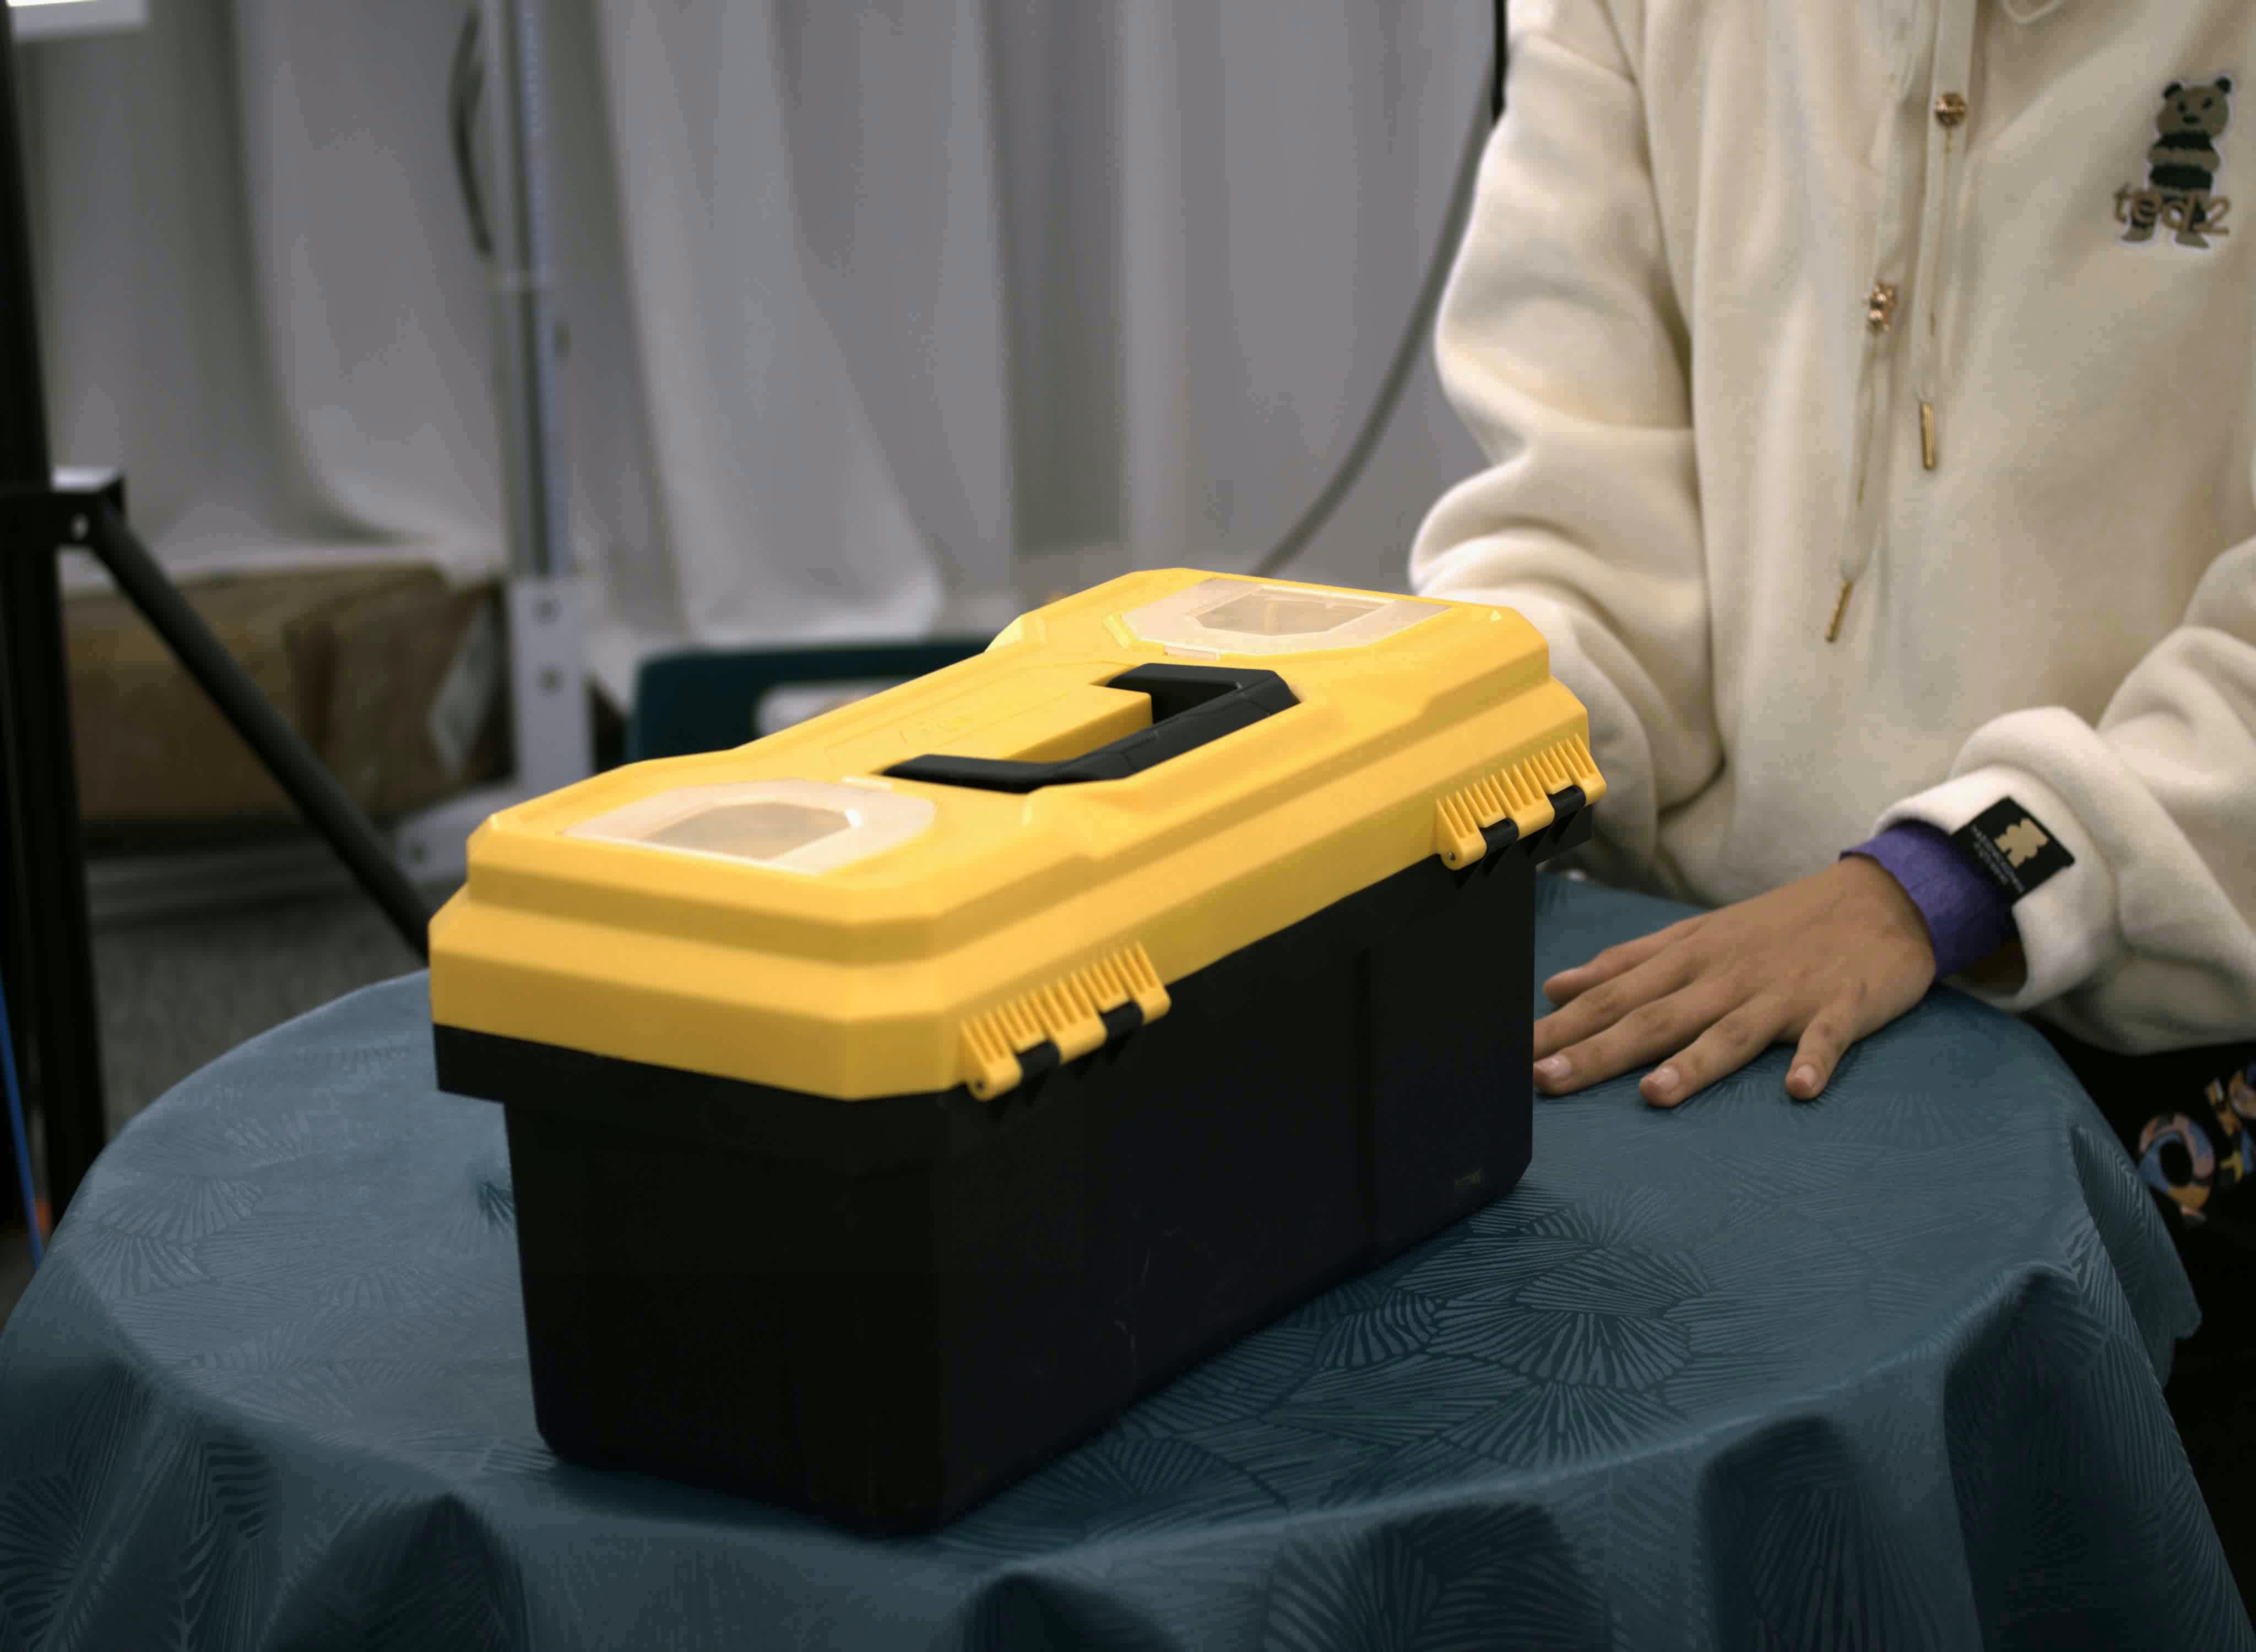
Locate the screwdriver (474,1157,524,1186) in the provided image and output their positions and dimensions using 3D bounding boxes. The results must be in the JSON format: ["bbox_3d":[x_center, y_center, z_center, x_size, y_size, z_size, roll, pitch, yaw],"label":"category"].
[{"bbox_3d":[-0.130,0.083,1.648,0.032,0.031,0.194,11,25,39],"label":"screwdriver"}]

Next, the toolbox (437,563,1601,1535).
[{"bbox_3d":[-0.021,0.050,1.446,0.185,0.173,0.344,9,19,35],"label":"toolbox"}]
